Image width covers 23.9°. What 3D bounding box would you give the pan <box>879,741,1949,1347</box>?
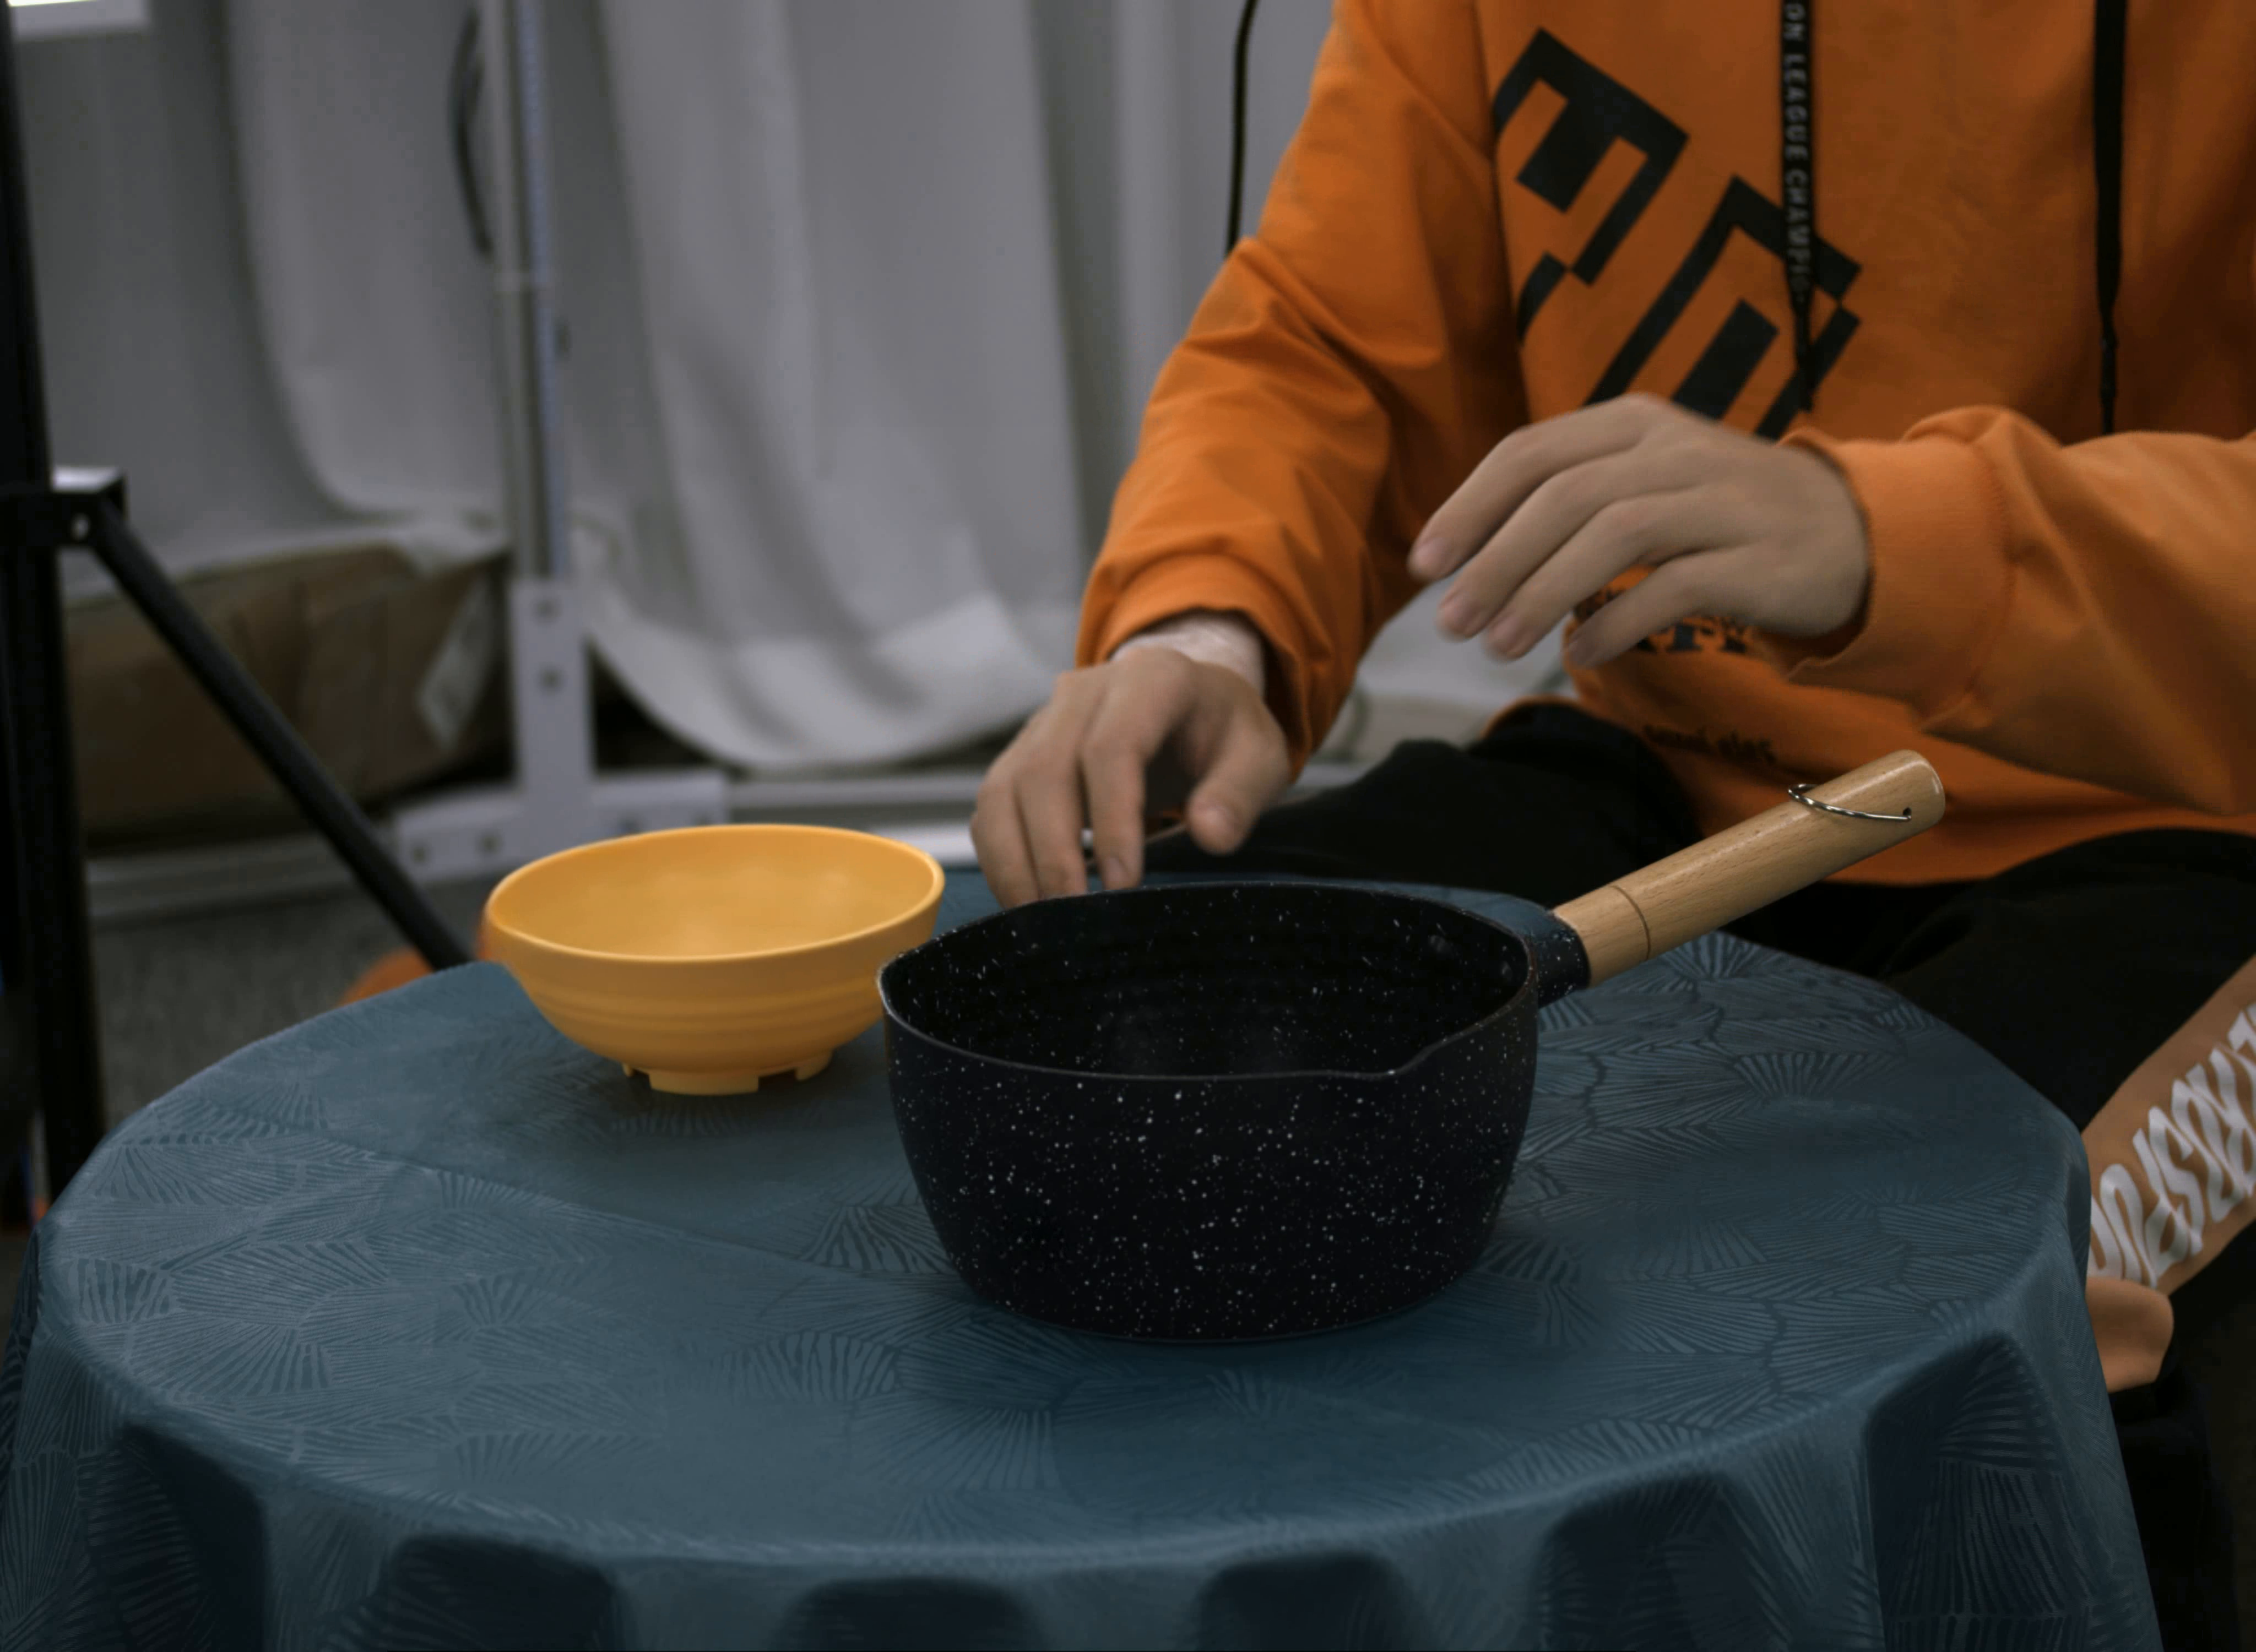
[{"bbox_3d":[0.093,0.057,1.524,0.336,0.108,0.212,-12,17,-26],"label":"pan"}]

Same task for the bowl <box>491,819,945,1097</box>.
[{"bbox_3d":[-0.129,0.047,1.689,0.144,0.060,0.146,-2,17,-1],"label":"bowl"}]
